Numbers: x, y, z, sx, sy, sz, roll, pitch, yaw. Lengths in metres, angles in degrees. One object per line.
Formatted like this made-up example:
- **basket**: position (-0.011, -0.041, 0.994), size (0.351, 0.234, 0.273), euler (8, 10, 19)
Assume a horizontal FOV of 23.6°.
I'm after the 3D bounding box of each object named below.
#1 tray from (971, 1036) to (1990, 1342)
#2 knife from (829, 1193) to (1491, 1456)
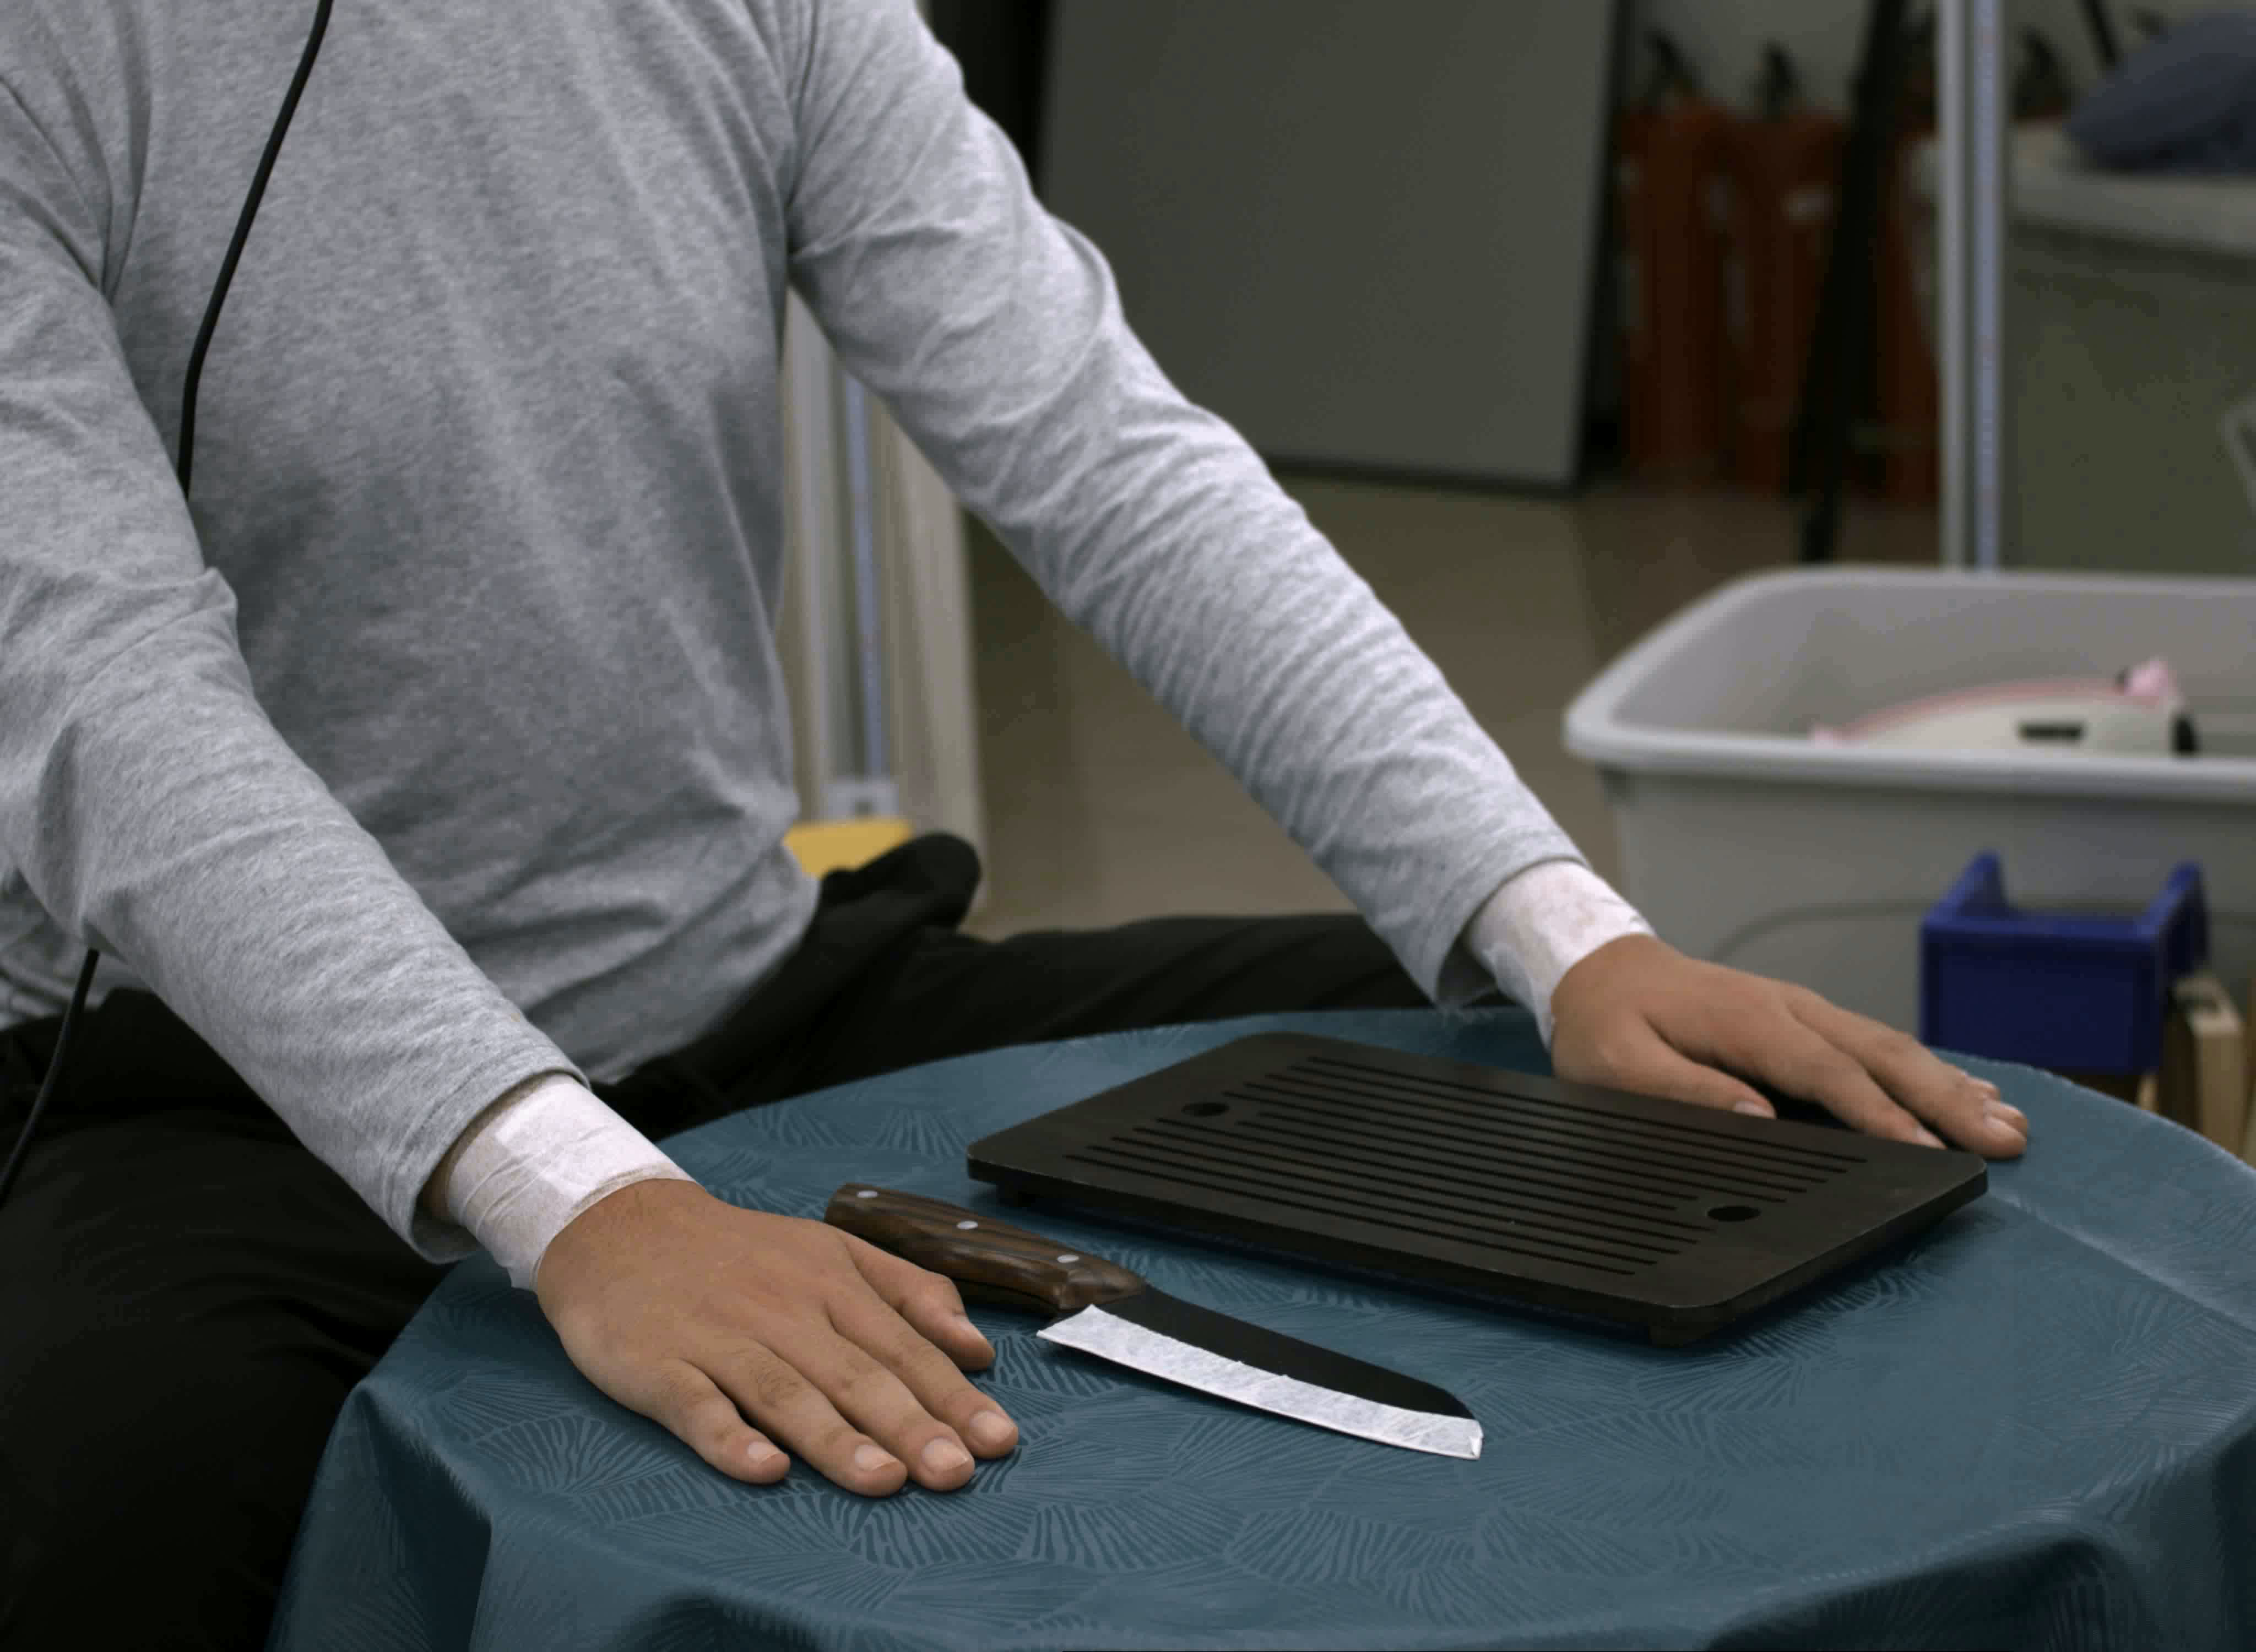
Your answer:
- **tray**: position (0.110, 0.114, 1.735), size (0.308, 0.019, 0.167), euler (8, 18, 42)
- **knife**: position (0.005, 0.151, 1.620), size (0.049, 0.020, 0.292), euler (-21, 23, -37)
